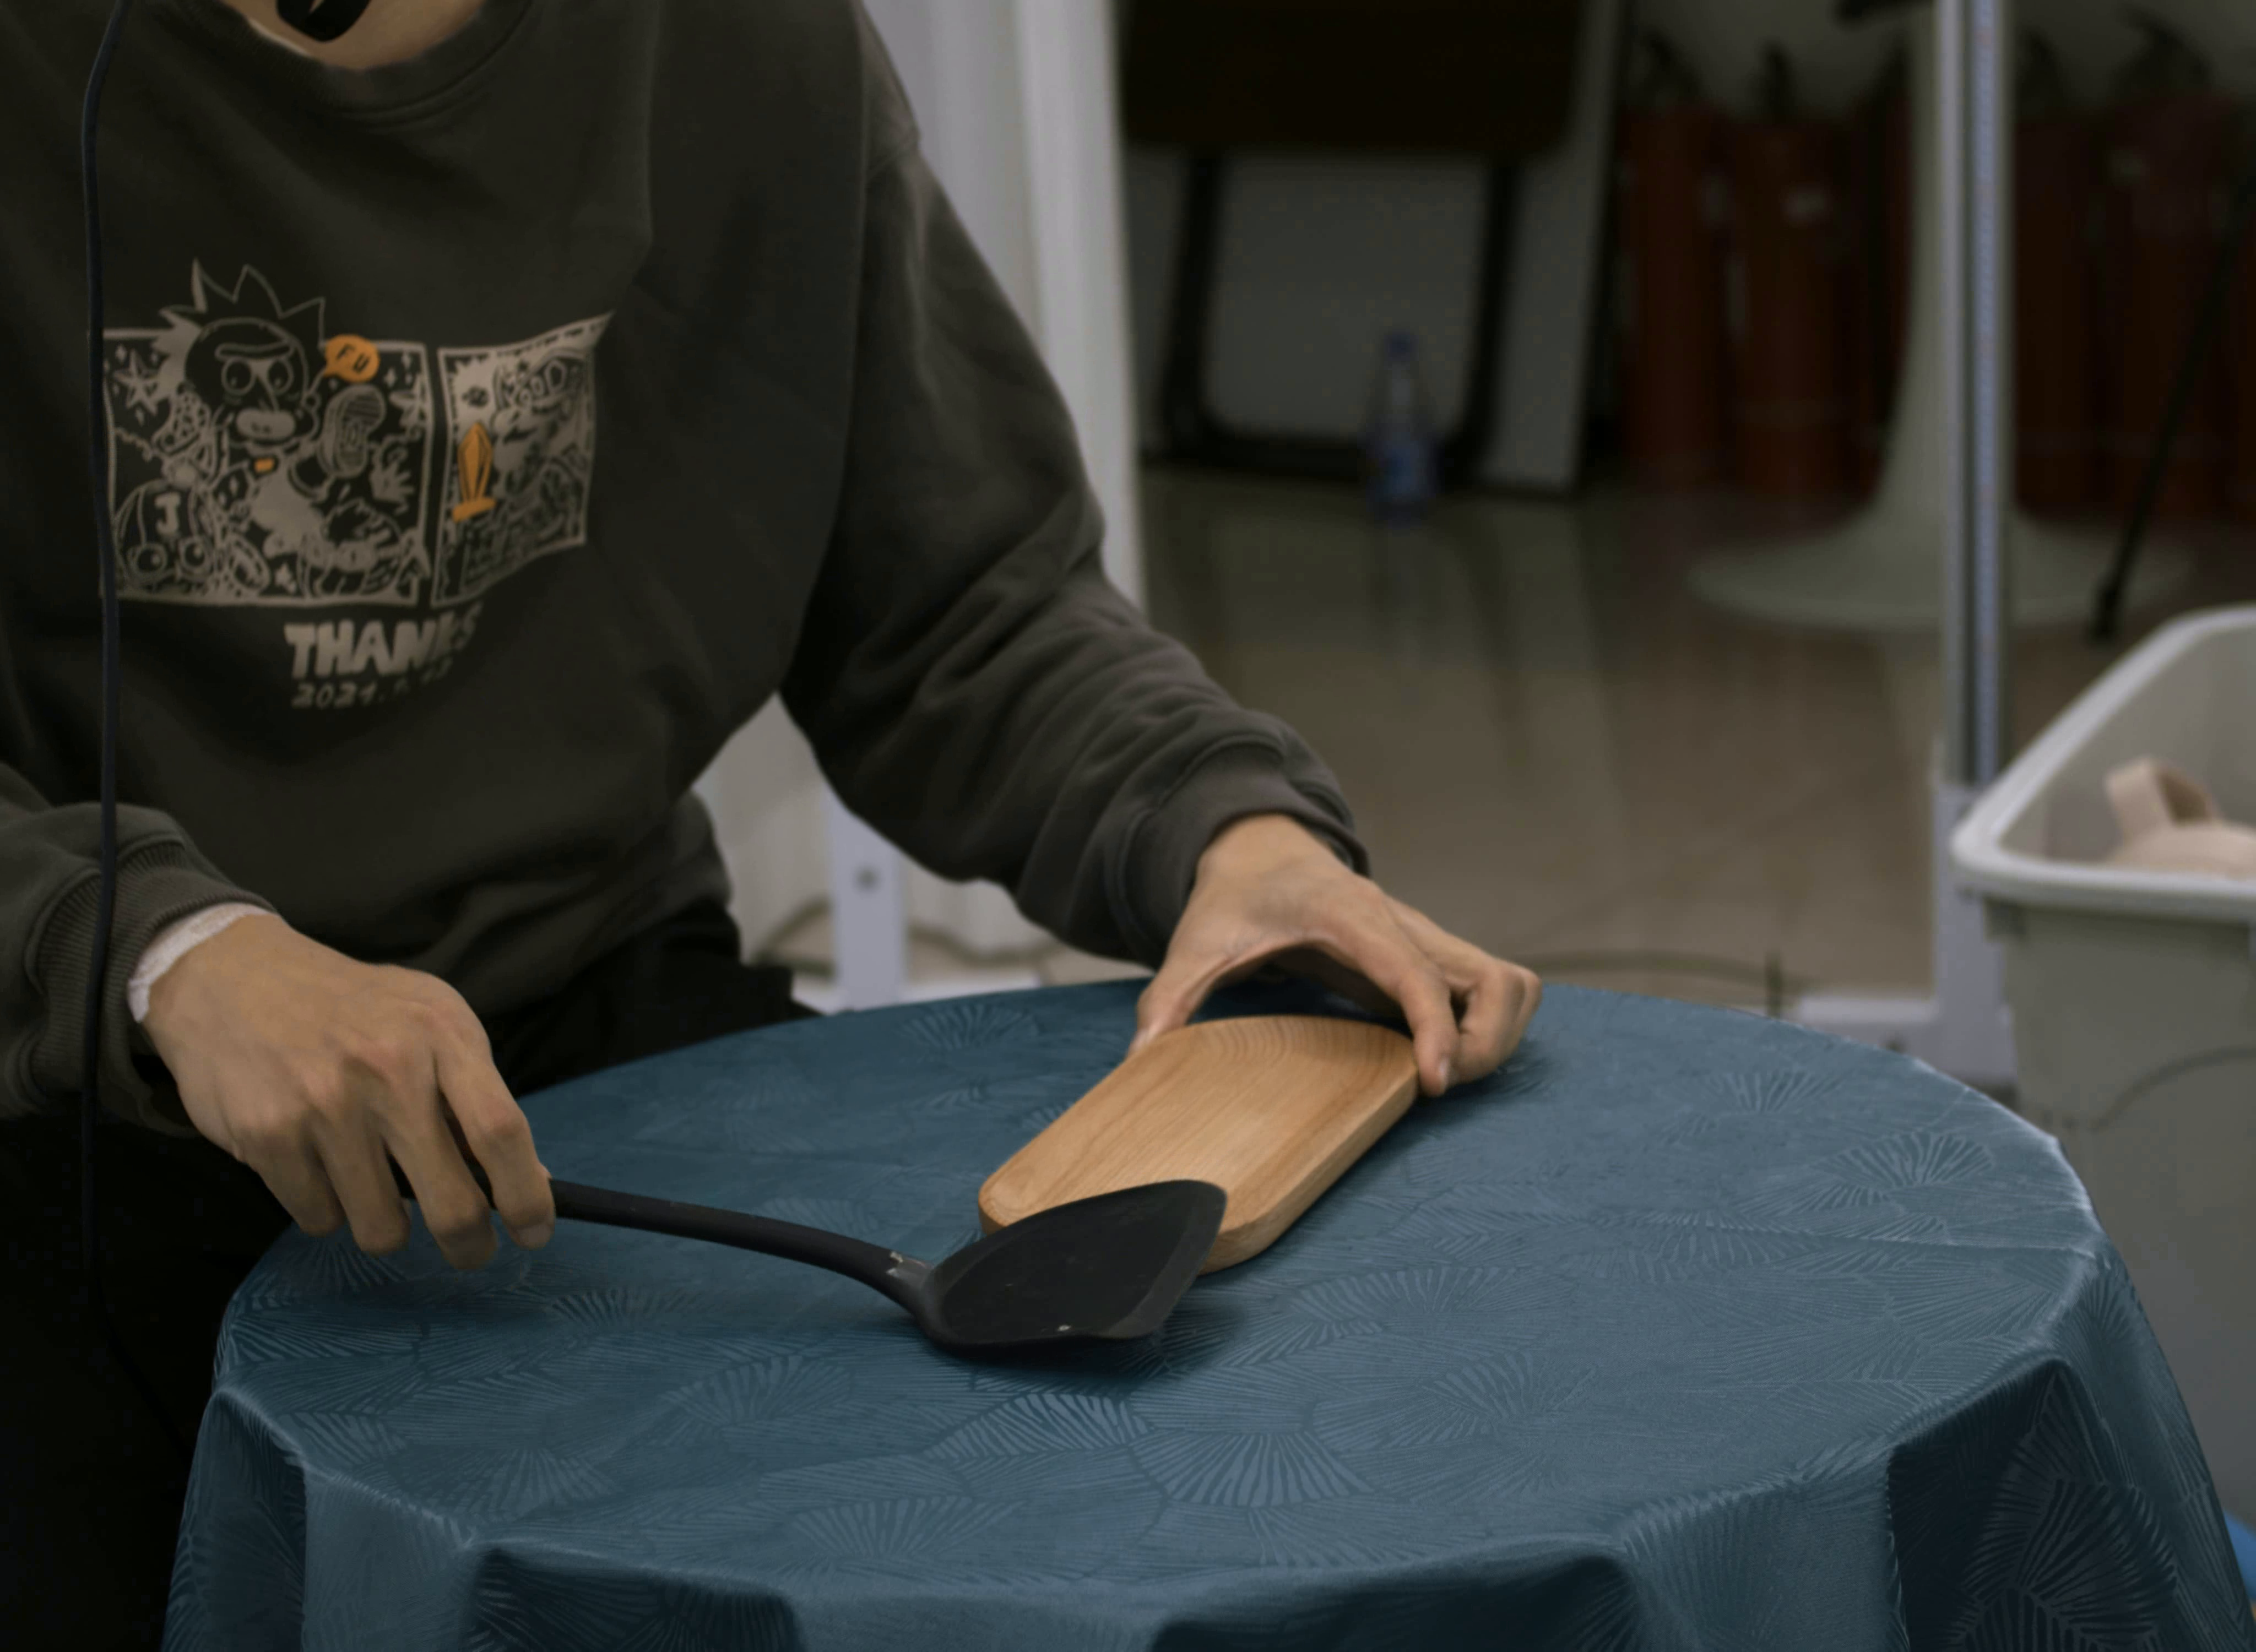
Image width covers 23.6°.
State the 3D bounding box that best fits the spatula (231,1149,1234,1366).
[{"bbox_3d":[-0.129,0.121,1.676,0.325,0.041,0.099,10,26,15],"label":"spatula"}]

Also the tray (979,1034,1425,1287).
[{"bbox_3d":[0.027,0.109,1.778,0.102,0.020,0.228,2,17,23],"label":"tray"}]
